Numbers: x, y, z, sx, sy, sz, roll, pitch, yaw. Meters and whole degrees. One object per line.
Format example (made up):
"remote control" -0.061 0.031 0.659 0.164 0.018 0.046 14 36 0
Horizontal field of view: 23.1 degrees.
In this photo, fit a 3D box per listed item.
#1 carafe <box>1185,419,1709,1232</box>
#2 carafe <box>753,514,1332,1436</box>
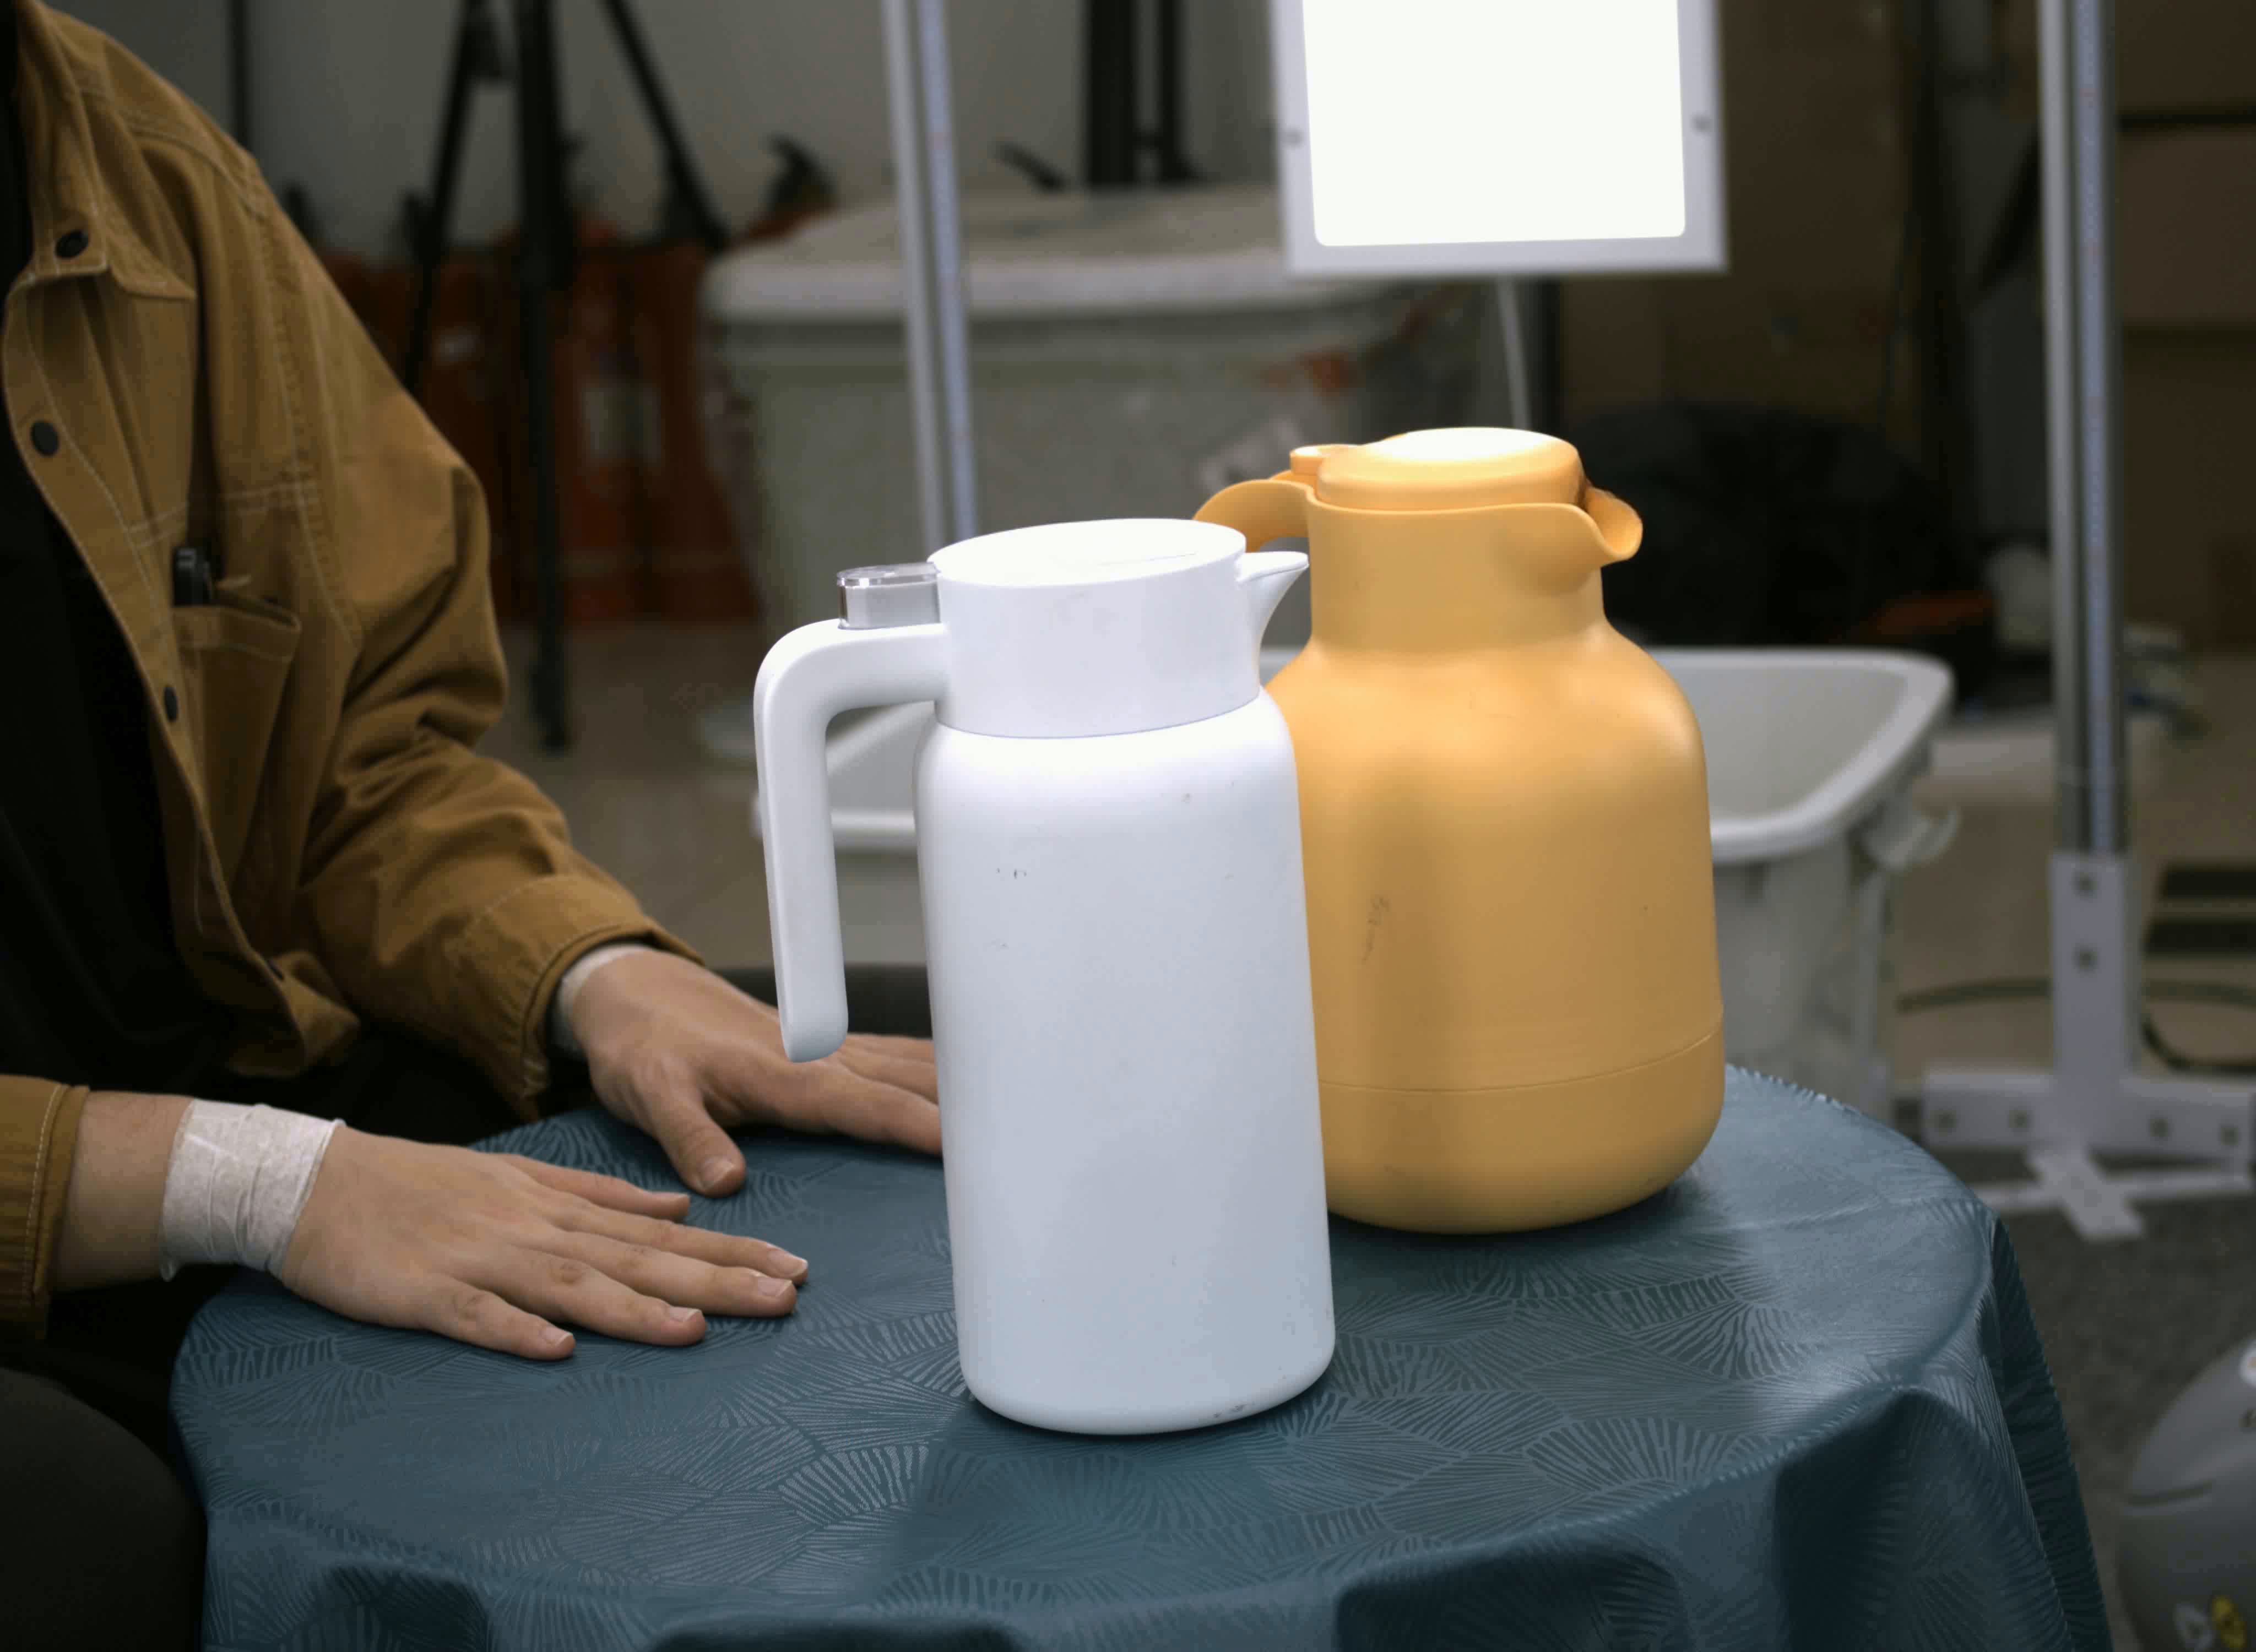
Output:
"carafe" 0.100 -0.007 1.852 0.159 0.261 0.207 -13 17 -41
"carafe" -0.020 0.046 1.674 0.171 0.270 0.124 -7 16 -8
